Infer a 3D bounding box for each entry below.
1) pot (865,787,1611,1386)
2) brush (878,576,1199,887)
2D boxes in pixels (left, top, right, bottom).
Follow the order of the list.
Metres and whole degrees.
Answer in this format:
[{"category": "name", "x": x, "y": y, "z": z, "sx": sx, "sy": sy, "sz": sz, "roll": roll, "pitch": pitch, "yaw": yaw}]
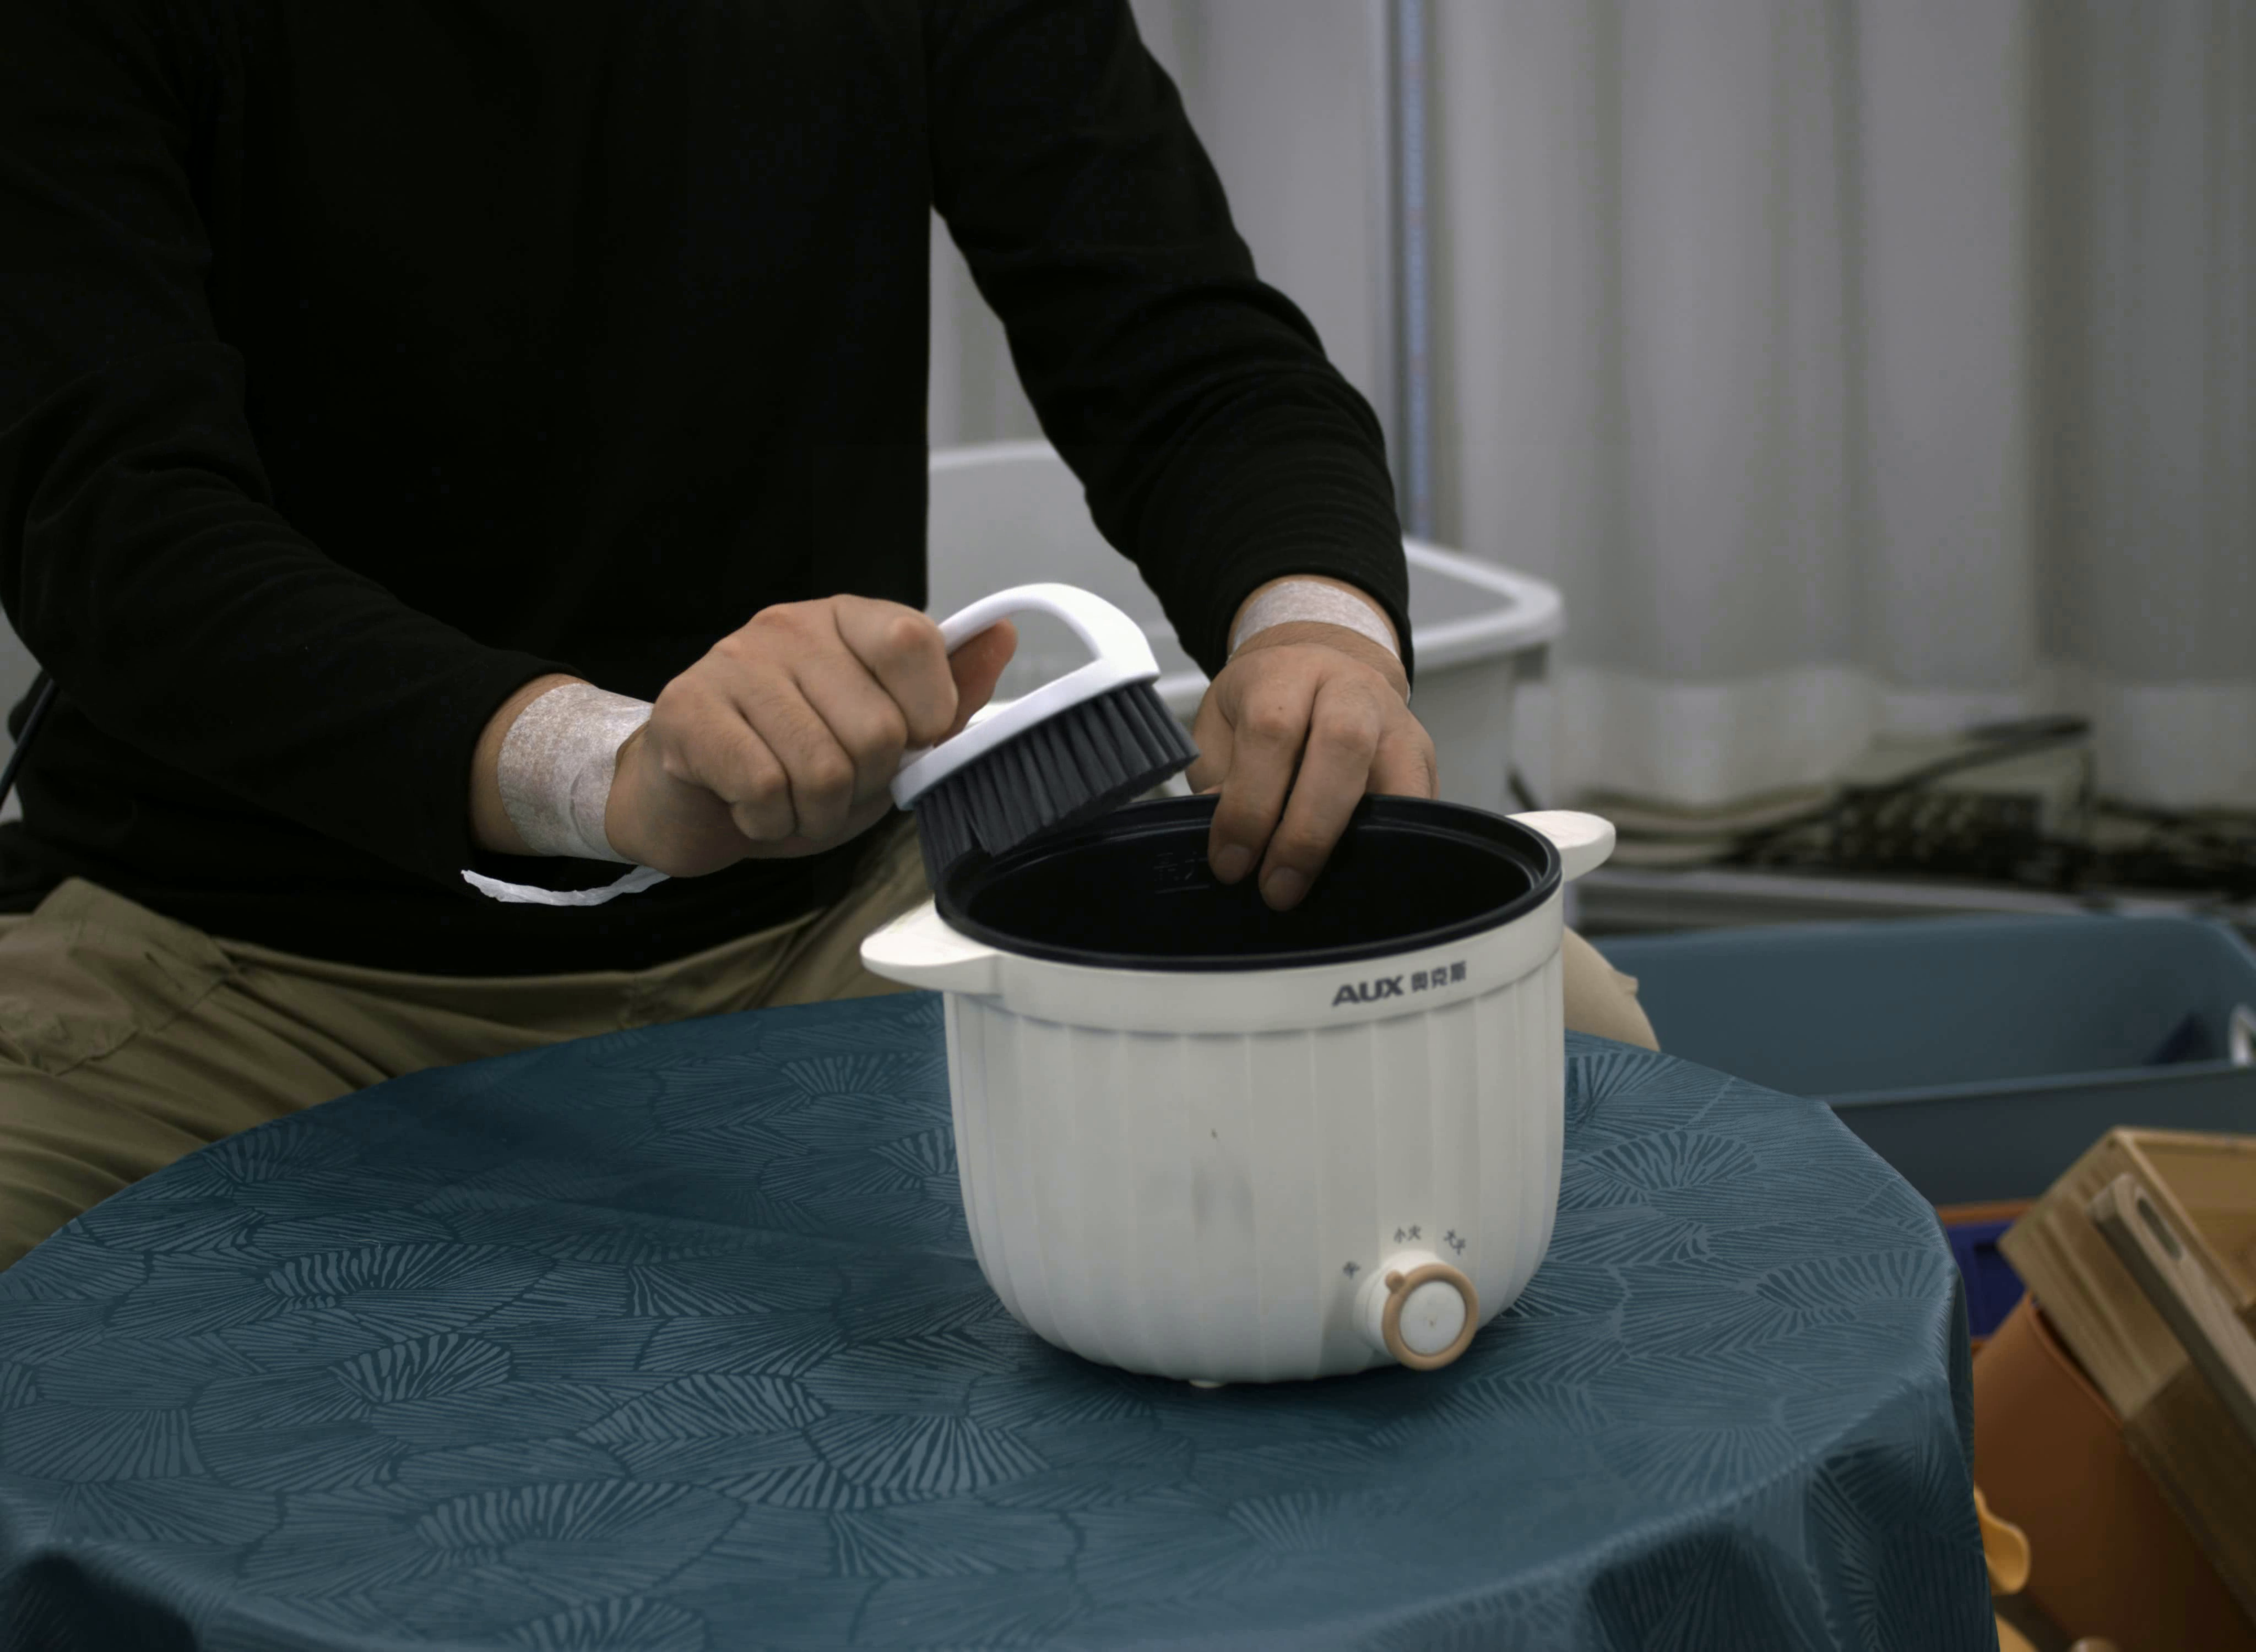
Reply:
[{"category": "pot", "x": 0.041, "y": 0.077, "z": 1.580, "sx": 0.239, "sy": 0.142, "sz": 0.192, "roll": -11, "pitch": 14, "yaw": -25}, {"category": "brush", "x": -0.034, "y": -0.034, "z": 1.626, "sx": 0.099, "sy": 0.073, "sz": 0.050, "roll": -30, "pitch": -9, "yaw": 36}]
